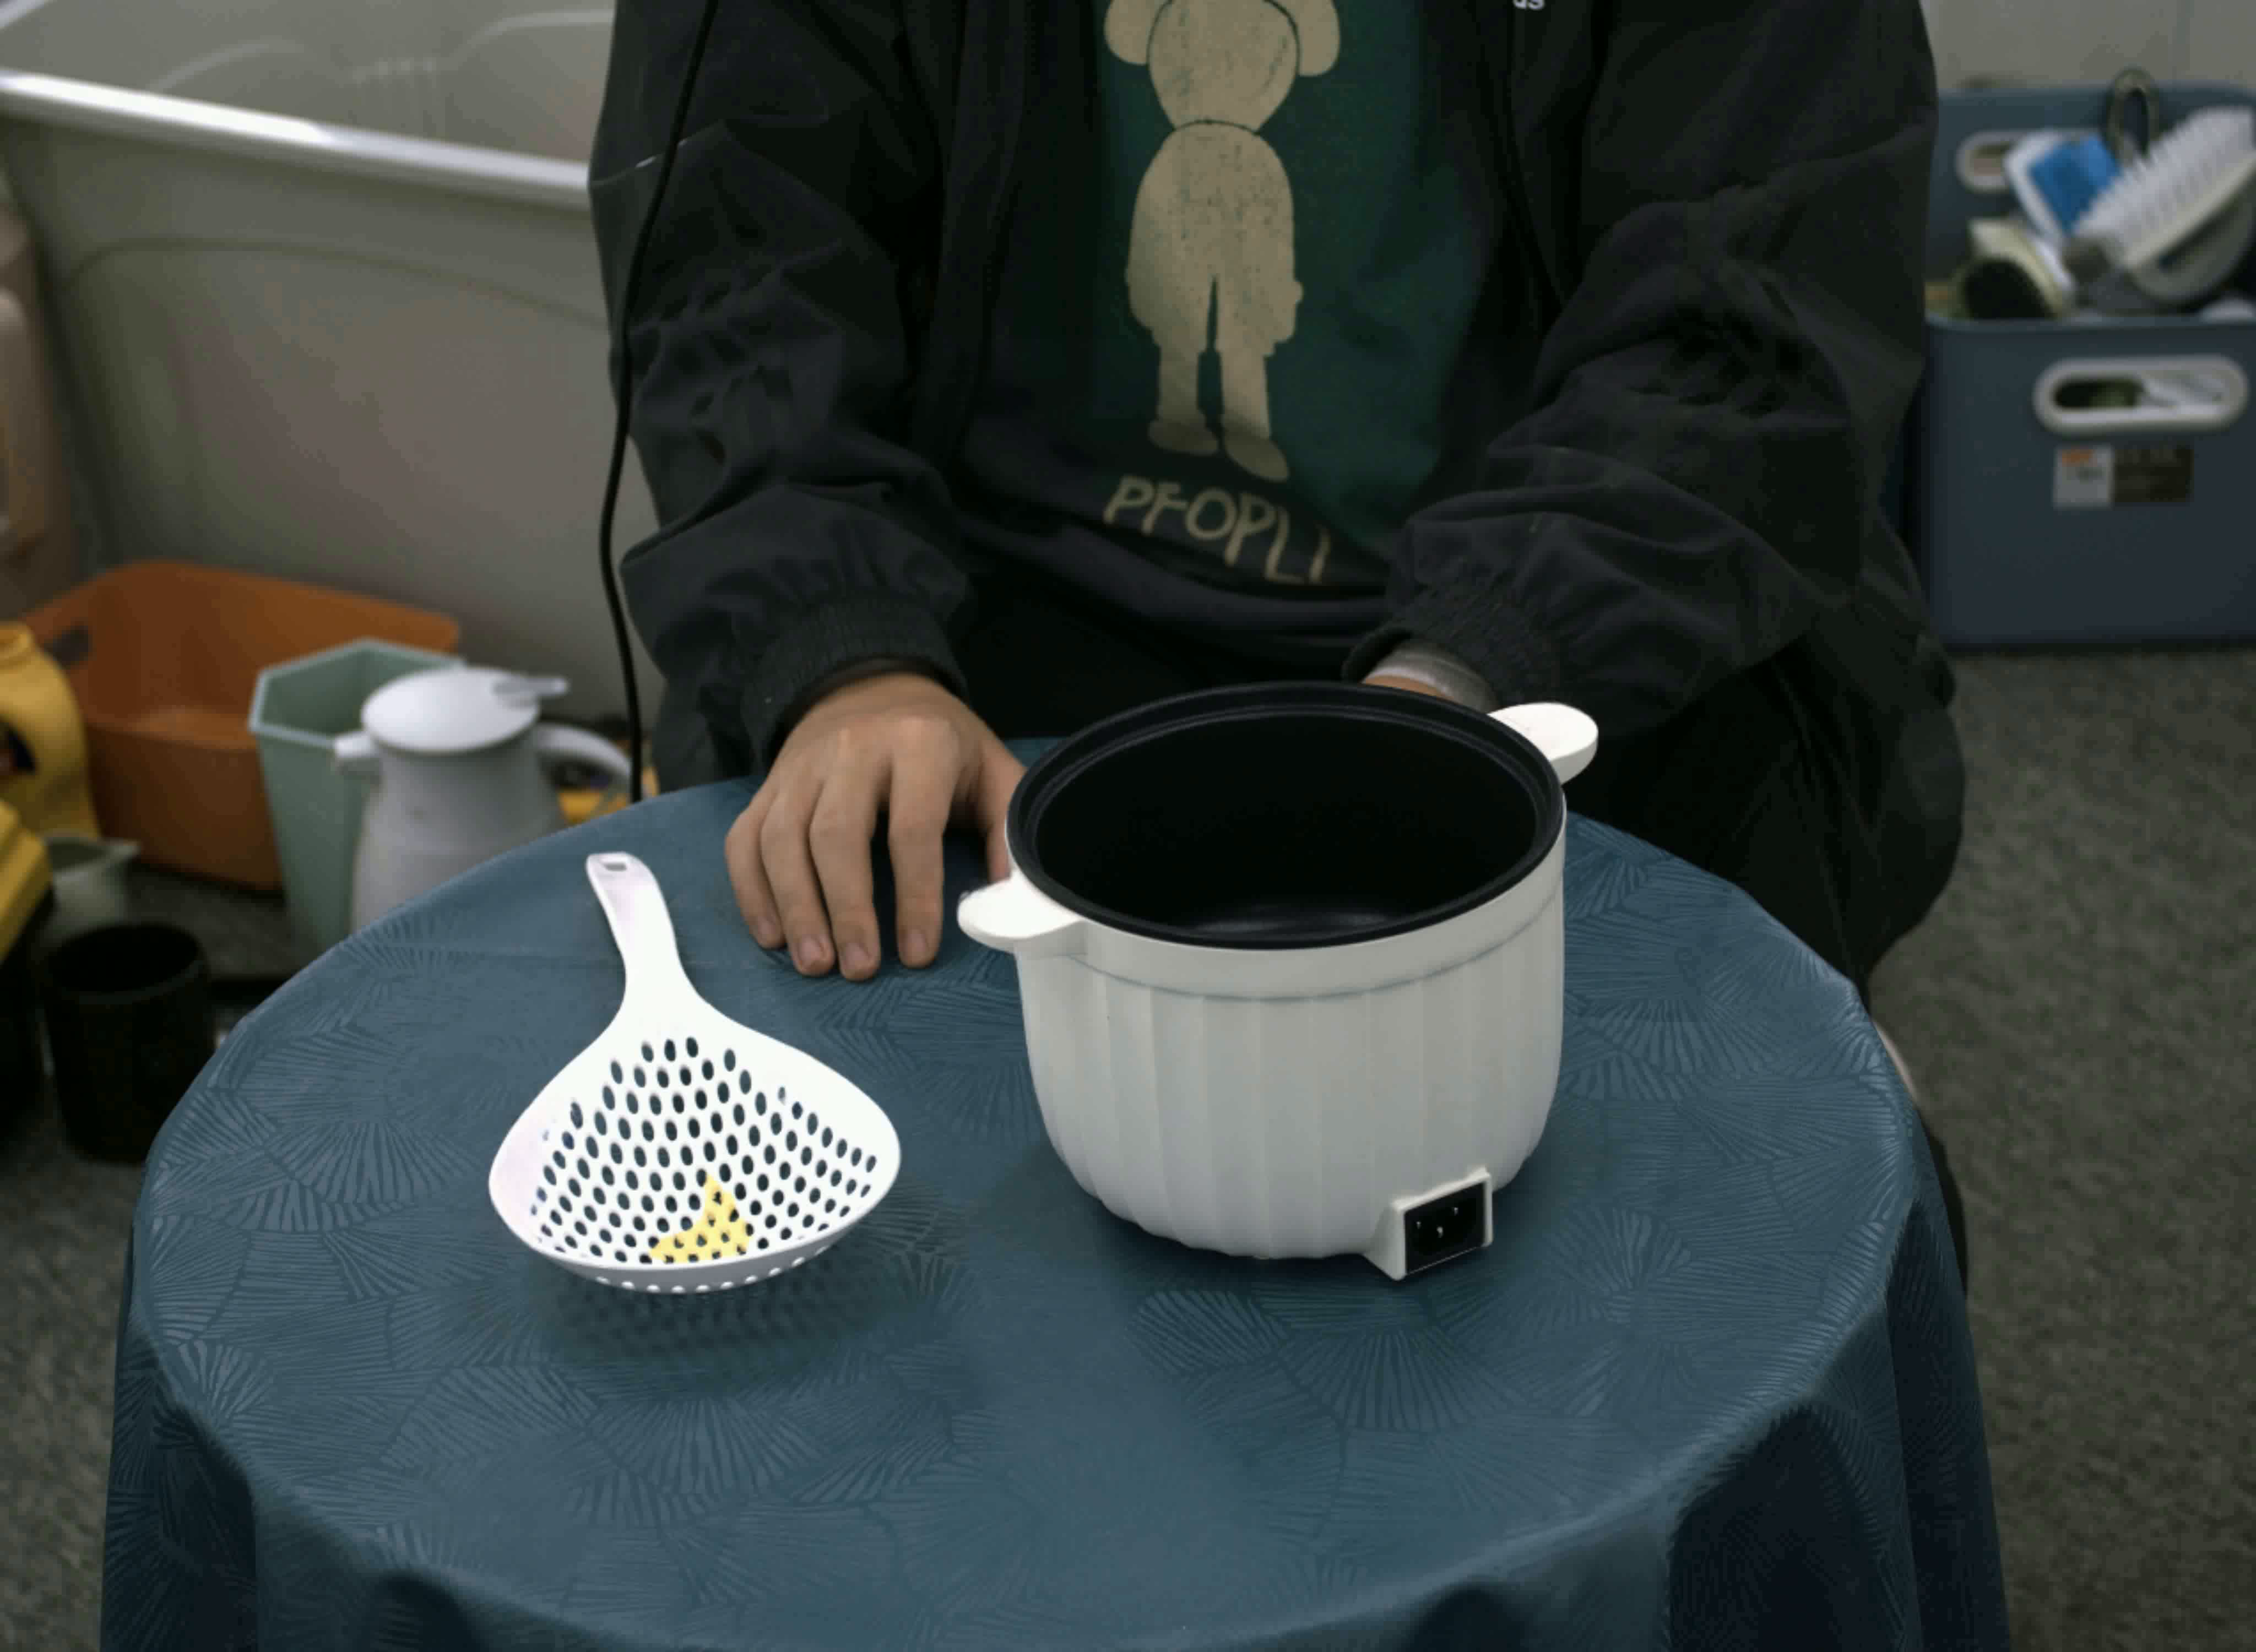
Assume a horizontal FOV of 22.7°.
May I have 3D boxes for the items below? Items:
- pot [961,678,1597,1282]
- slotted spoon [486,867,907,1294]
[{"bbox_3d":[0.050,0.050,1.844,0.242,0.141,0.191,-17,33,-28],"label":"pot"},{"bbox_3d":[-0.159,0.075,1.920,0.136,0.050,0.352,-8,28,-8],"label":"slotted spoon"}]
